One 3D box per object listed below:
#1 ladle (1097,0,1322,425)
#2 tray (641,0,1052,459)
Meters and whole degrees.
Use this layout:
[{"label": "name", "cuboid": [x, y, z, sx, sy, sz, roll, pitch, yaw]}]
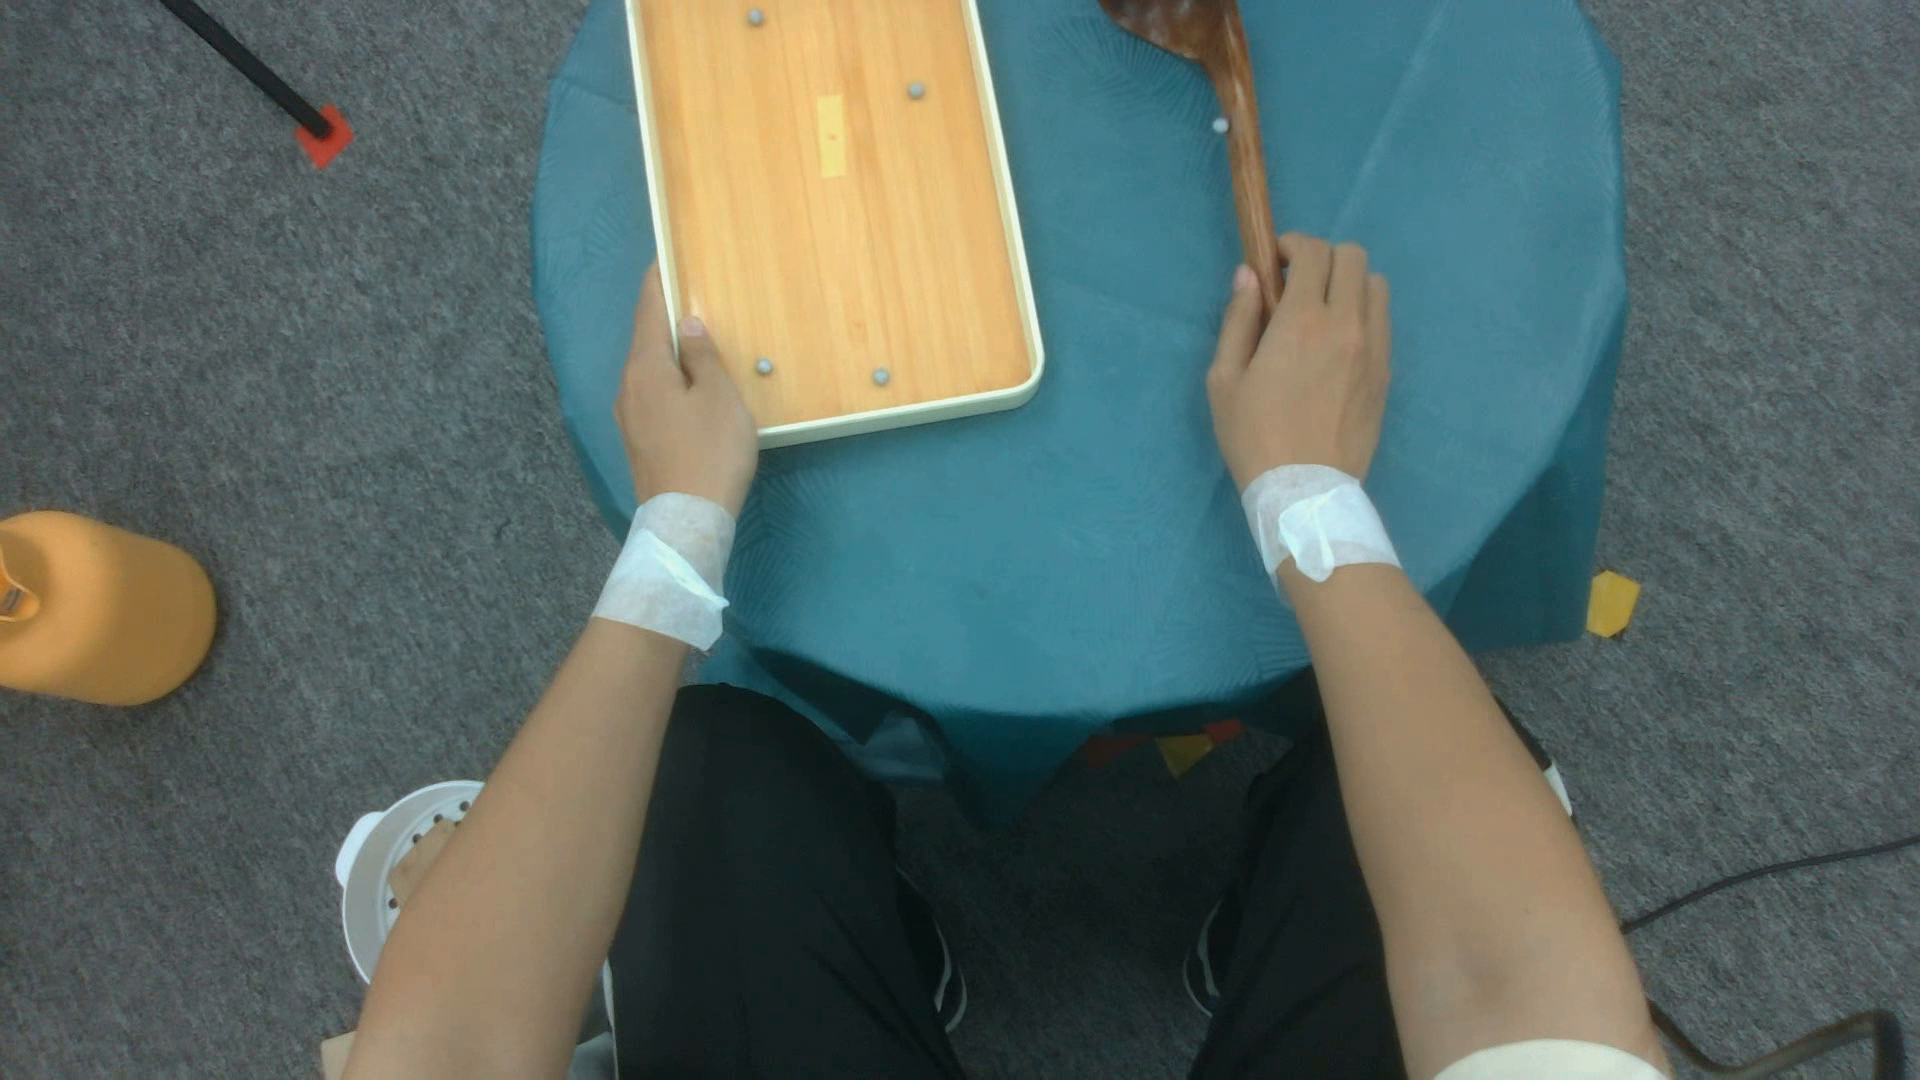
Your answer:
[{"label": "ladle", "cuboid": [0.129, -0.191, 0.730, 0.076, 0.082, 0.274, -8, 81, -6]}, {"label": "tray", "cuboid": [-0.067, -0.201, 0.766, 0.191, 0.027, 0.301, -9, 76, -2]}]
